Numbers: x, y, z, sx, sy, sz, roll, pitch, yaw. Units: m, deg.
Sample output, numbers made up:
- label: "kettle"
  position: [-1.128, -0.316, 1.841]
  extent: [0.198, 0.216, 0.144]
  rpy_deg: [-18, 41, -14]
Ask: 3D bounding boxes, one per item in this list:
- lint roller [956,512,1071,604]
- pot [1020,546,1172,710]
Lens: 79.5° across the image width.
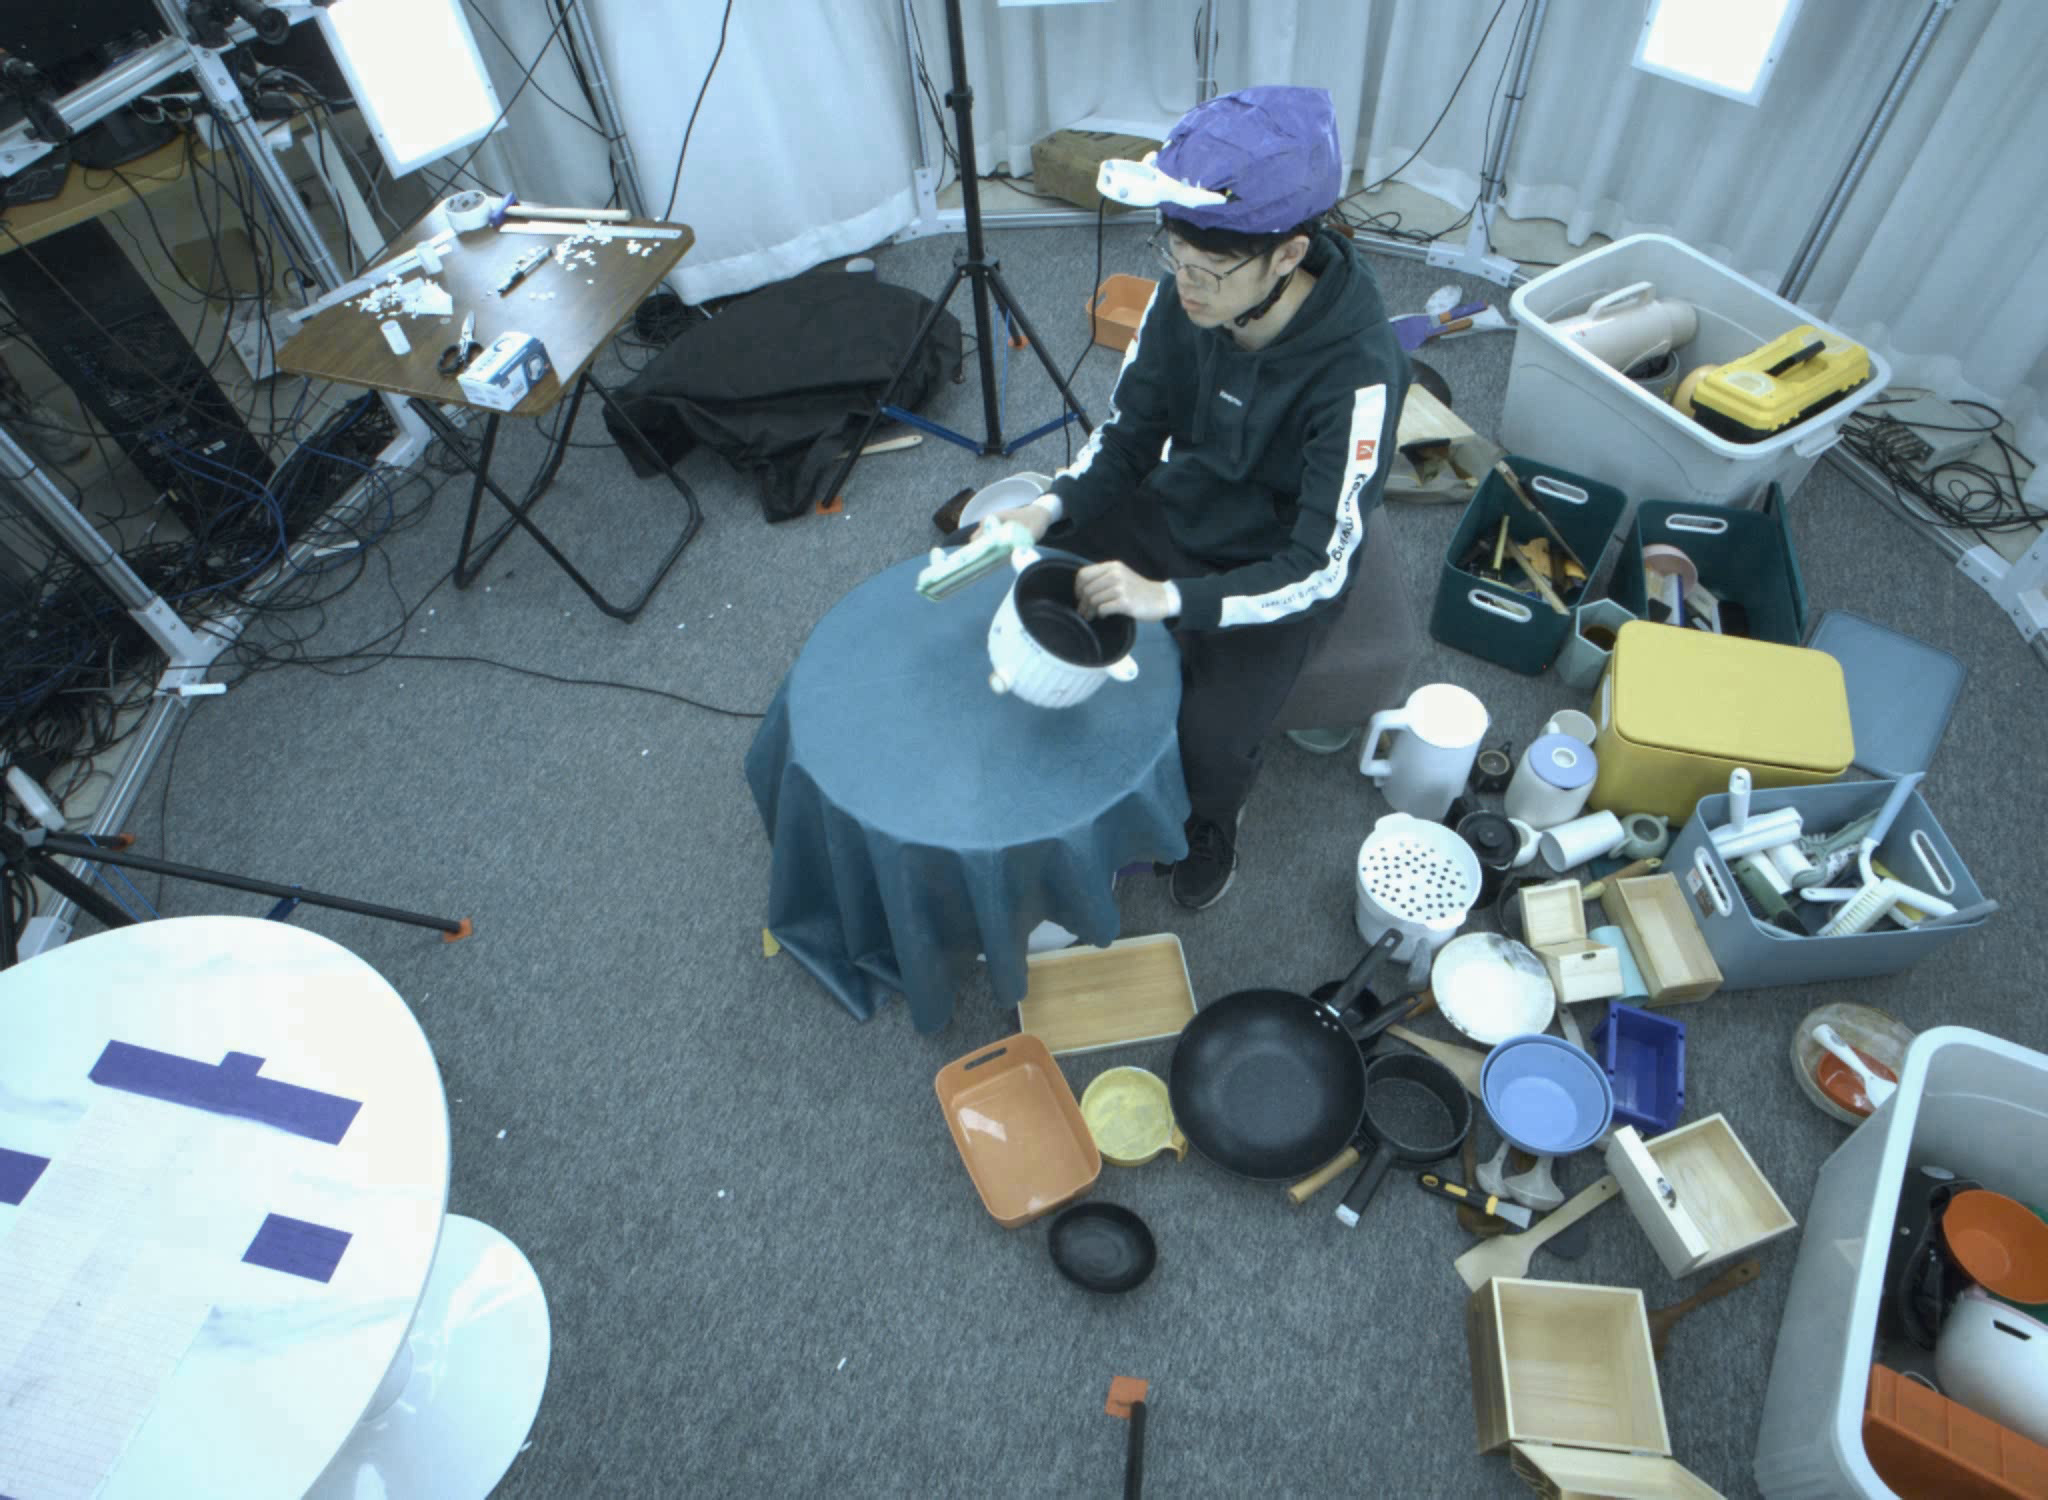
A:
- label: "lint roller"
  position: [0.002, -0.309, 1.828]
  extent: [0.083, 0.196, 0.184]
  rpy_deg: [53, 41, -11]
- label: "pot"
  position: [0.087, -0.147, 1.680]
  extent: [0.239, 0.141, 0.193]
  rpy_deg: [51, 48, 7]
